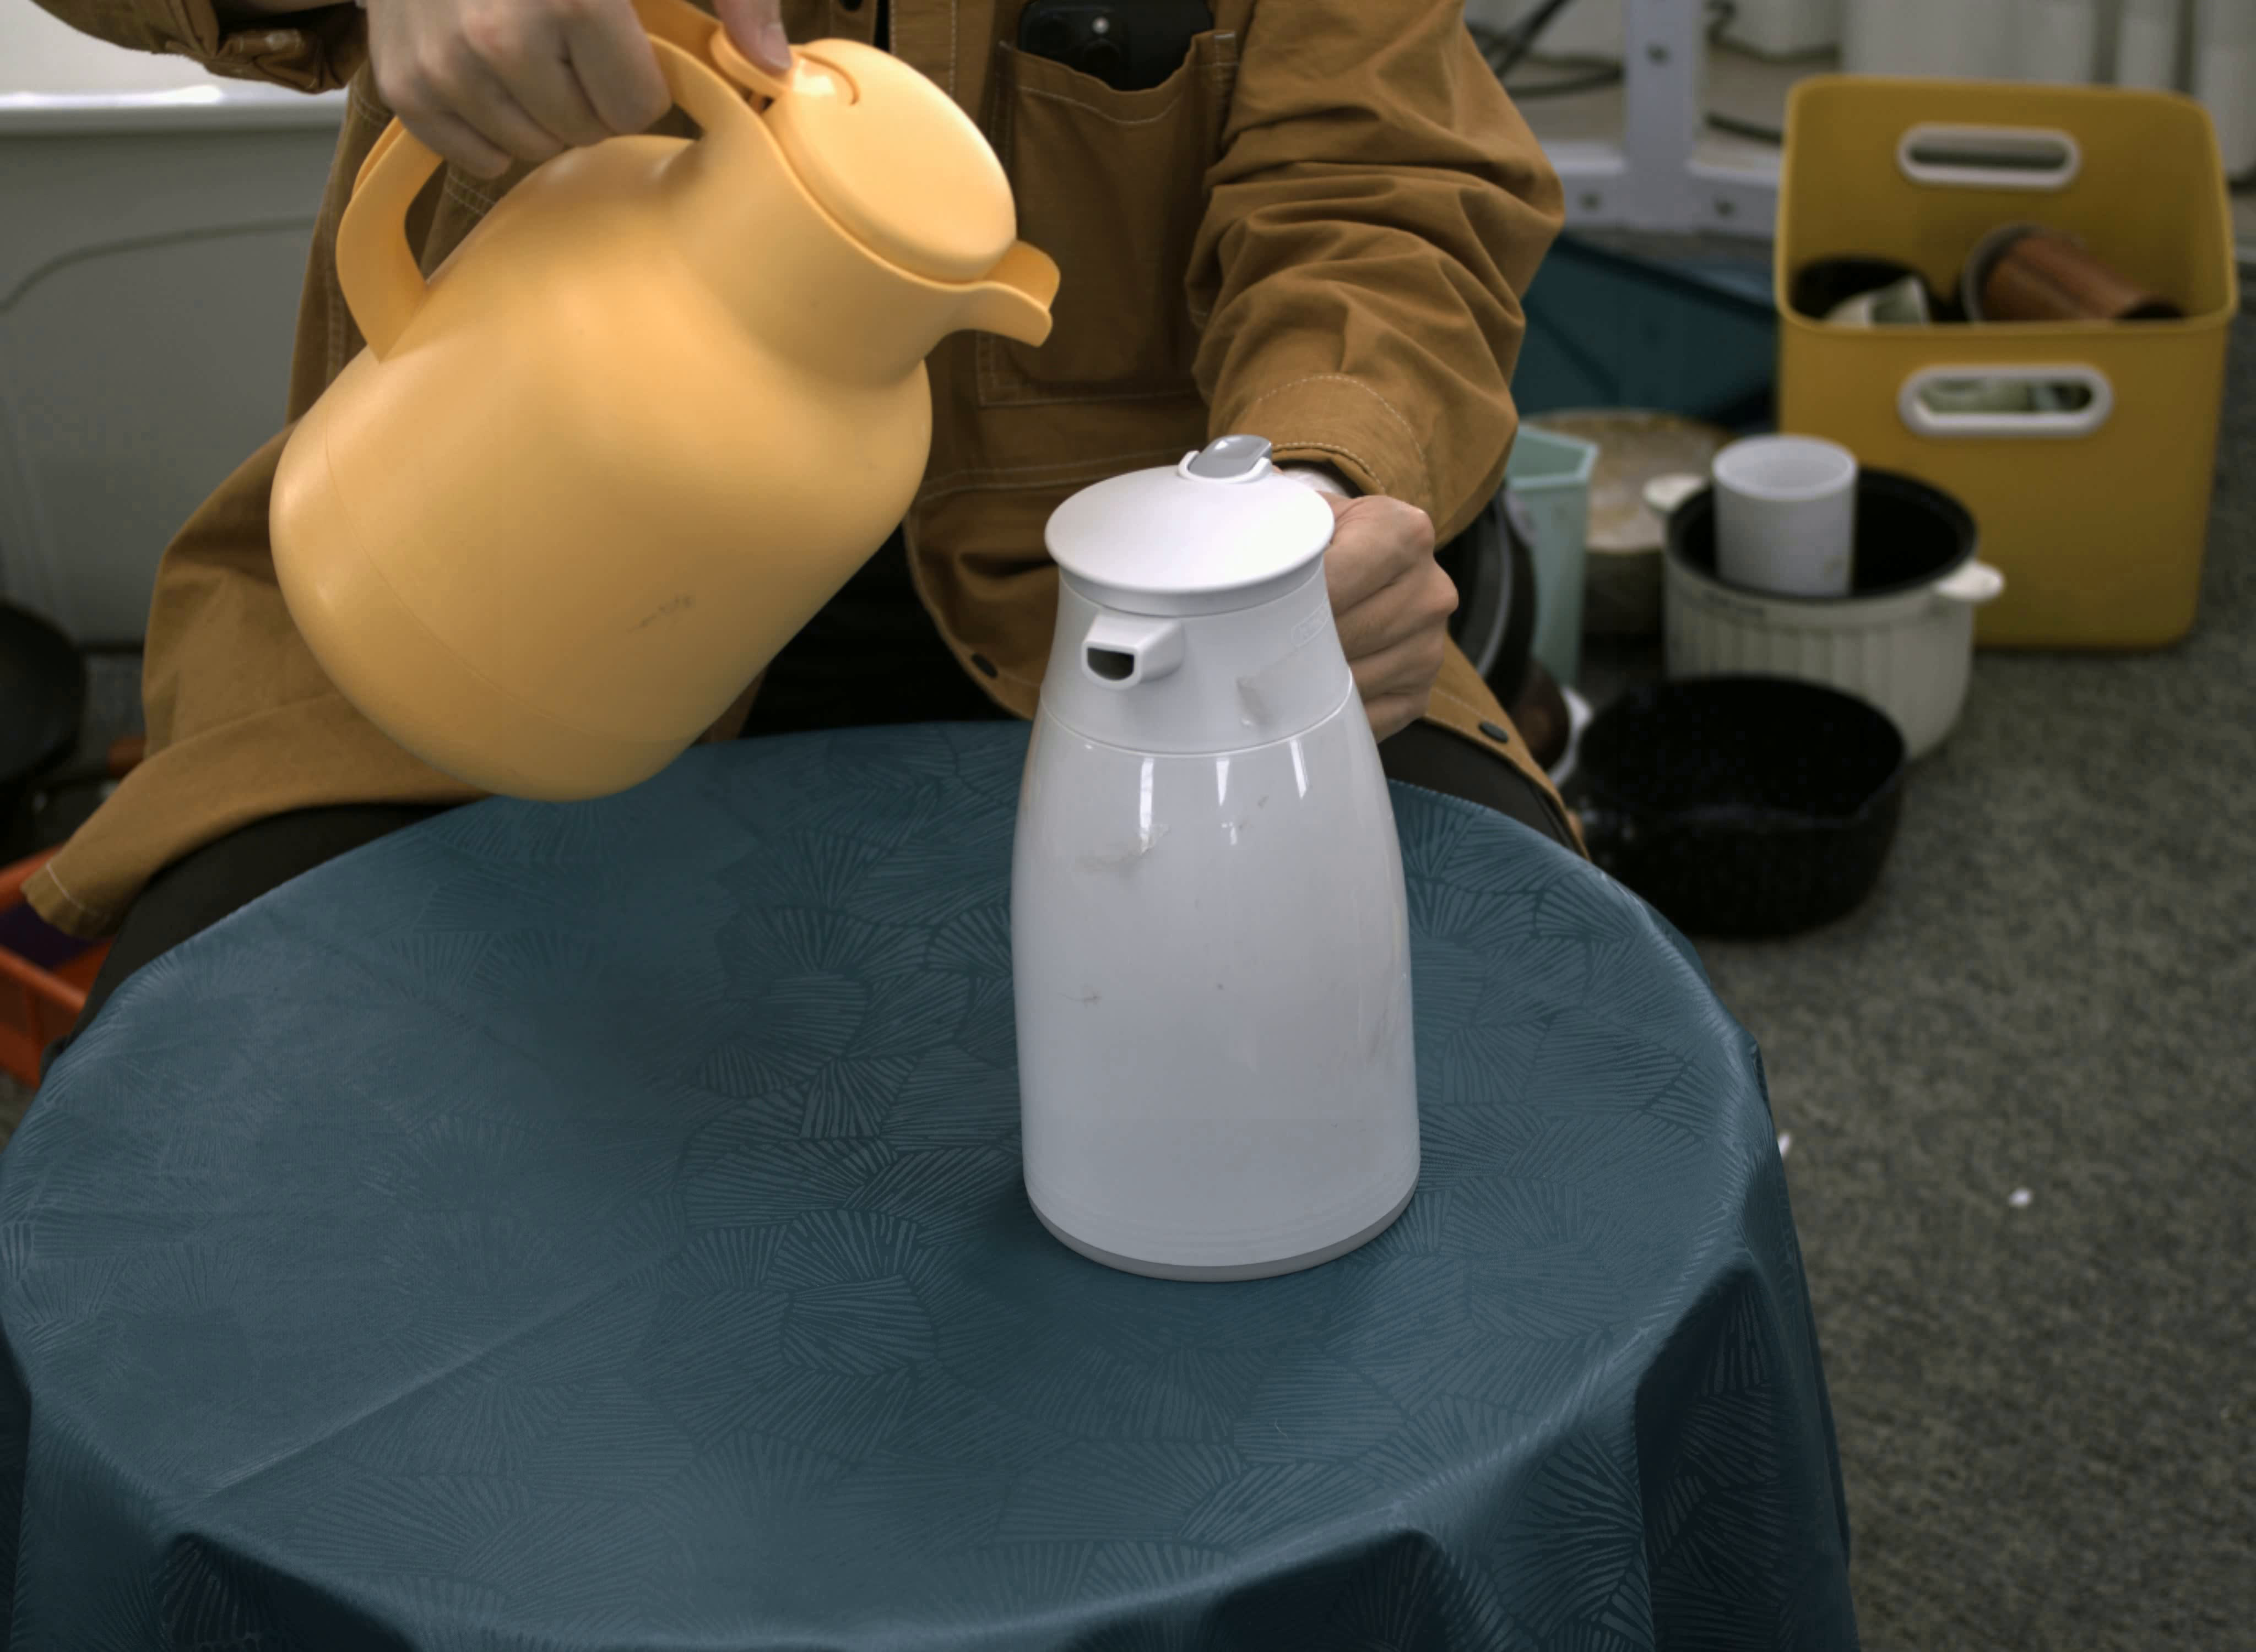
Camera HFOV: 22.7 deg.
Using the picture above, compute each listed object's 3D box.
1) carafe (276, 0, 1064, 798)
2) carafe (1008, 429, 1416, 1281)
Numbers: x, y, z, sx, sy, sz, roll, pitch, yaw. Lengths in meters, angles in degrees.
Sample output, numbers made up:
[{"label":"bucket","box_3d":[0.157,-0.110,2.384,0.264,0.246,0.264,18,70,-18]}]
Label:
[{"label":"carafe","box_3d":[-0.157,-0.147,1.766,0.201,0.256,0.166,36,32,-18]},{"label":"carafe","box_3d":[0.031,-0.001,1.828,0.131,0.246,0.170,8,28,22]}]
